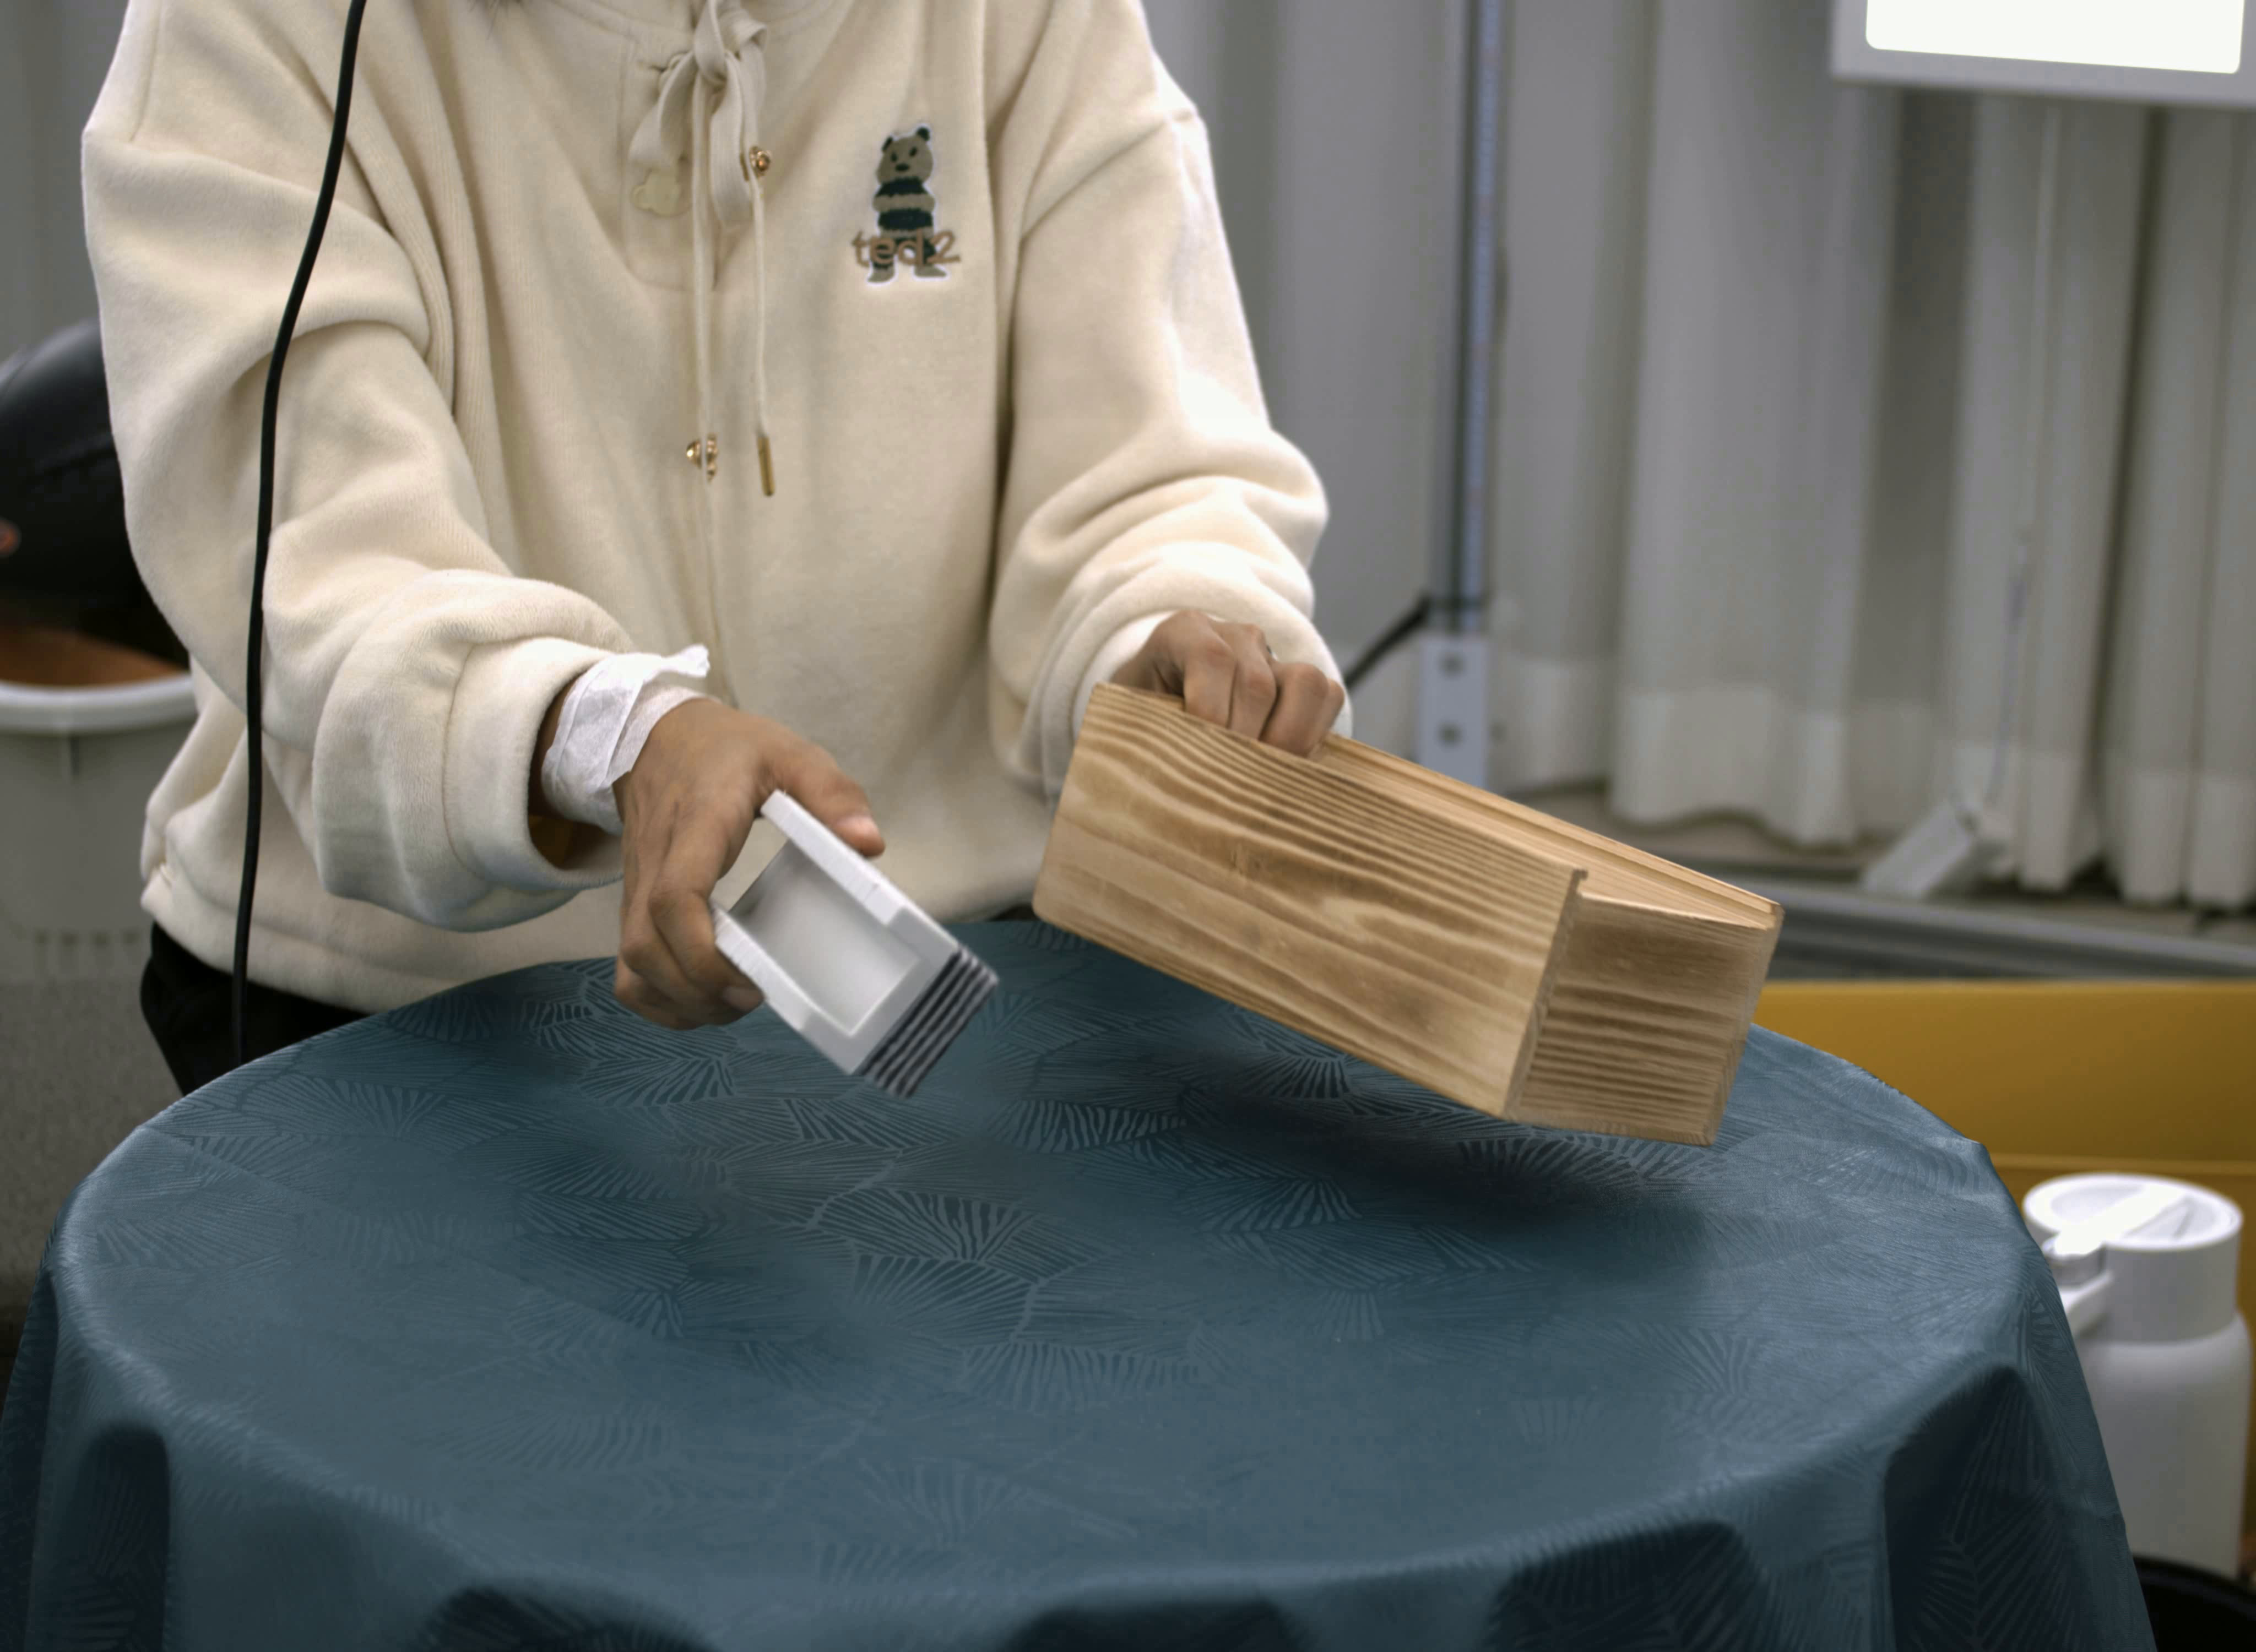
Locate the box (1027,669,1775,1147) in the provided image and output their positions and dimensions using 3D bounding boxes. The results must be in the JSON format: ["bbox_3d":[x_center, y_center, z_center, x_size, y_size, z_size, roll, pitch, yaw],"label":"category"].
[{"bbox_3d":[0.083,0.025,1.659,0.208,0.080,0.108,23,8,41],"label":"box"}]

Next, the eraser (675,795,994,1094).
[{"bbox_3d":[-0.088,0.034,1.564,0.047,0.050,0.133,36,-2,-26],"label":"eraser"}]
